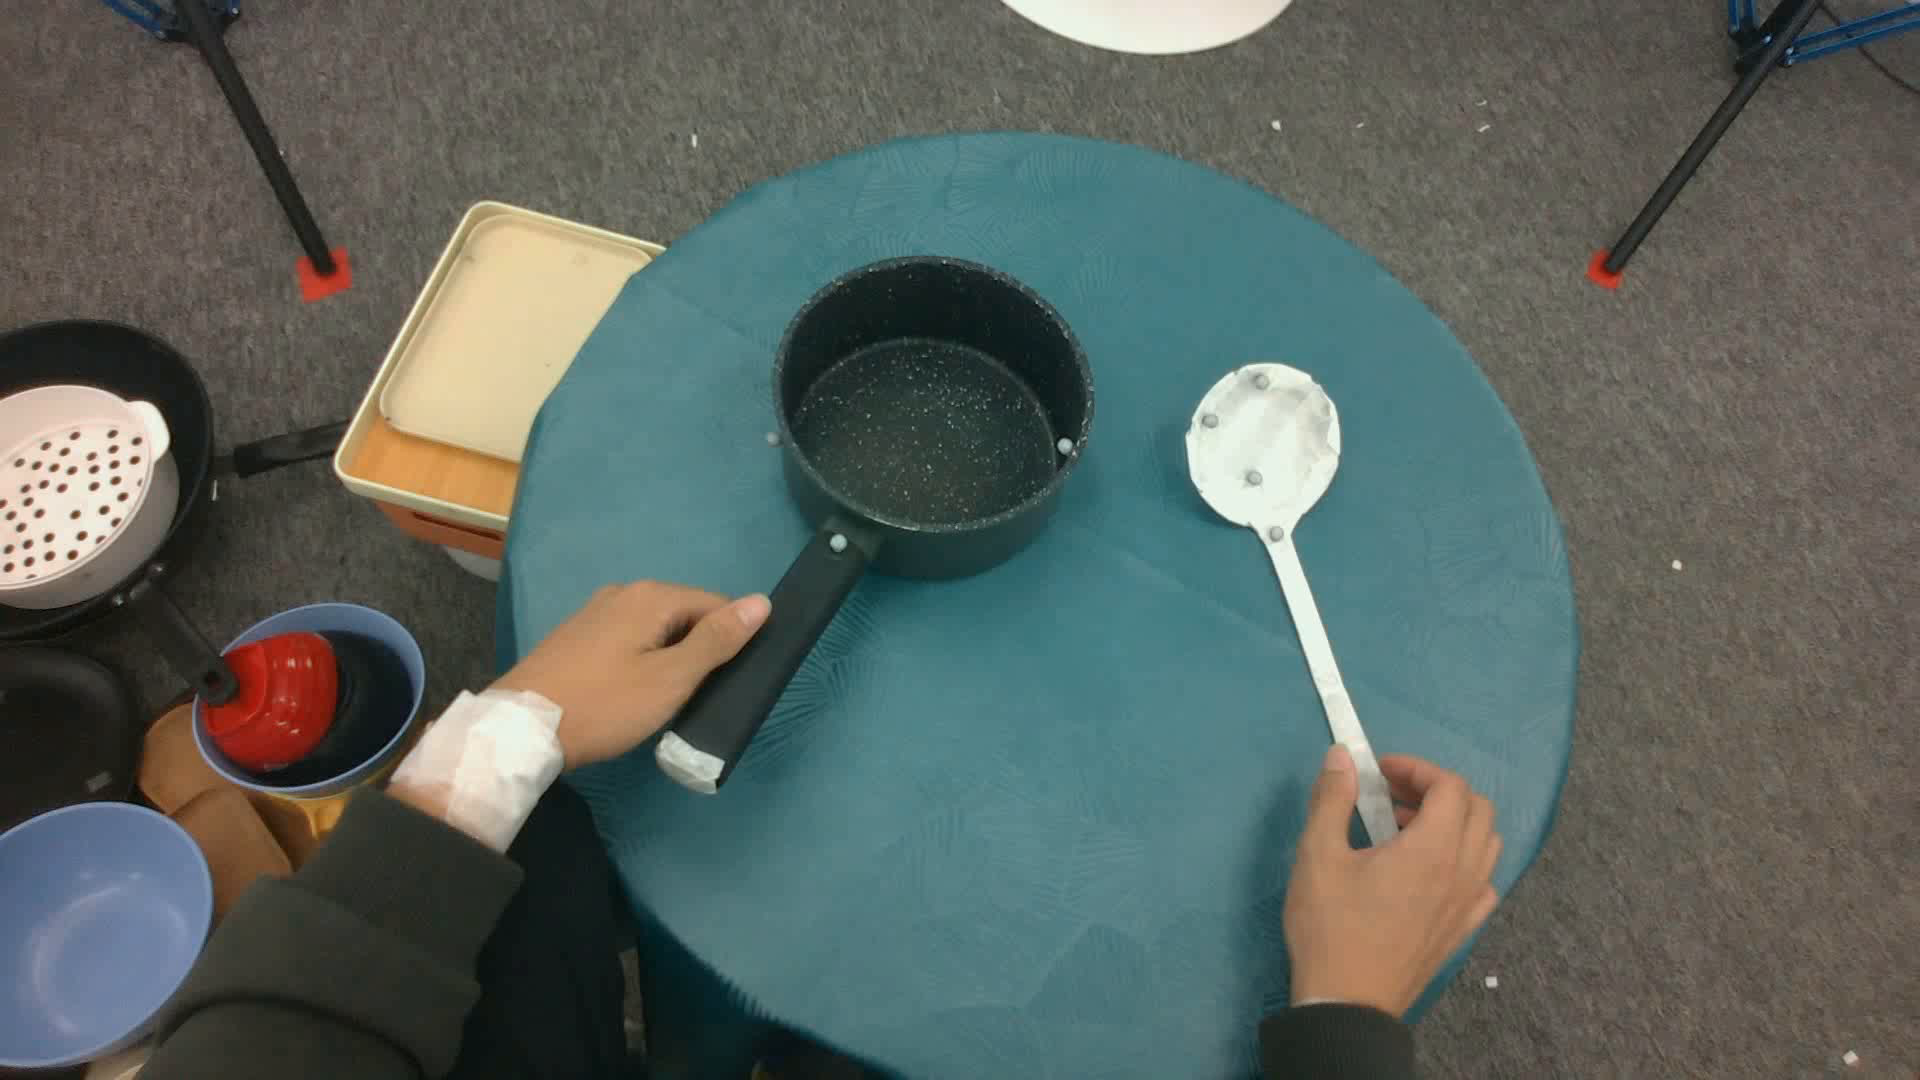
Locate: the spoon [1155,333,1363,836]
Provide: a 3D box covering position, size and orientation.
[{"bbox_3d":[0.175,0.019,0.746,0.101,0.059,0.278,-8,65,-9],"label":"spoon"}]

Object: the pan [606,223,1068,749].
[{"bbox_3d":[-0.069,-0.022,0.718,0.172,0.086,0.330,29,63,8],"label":"pan"}]
